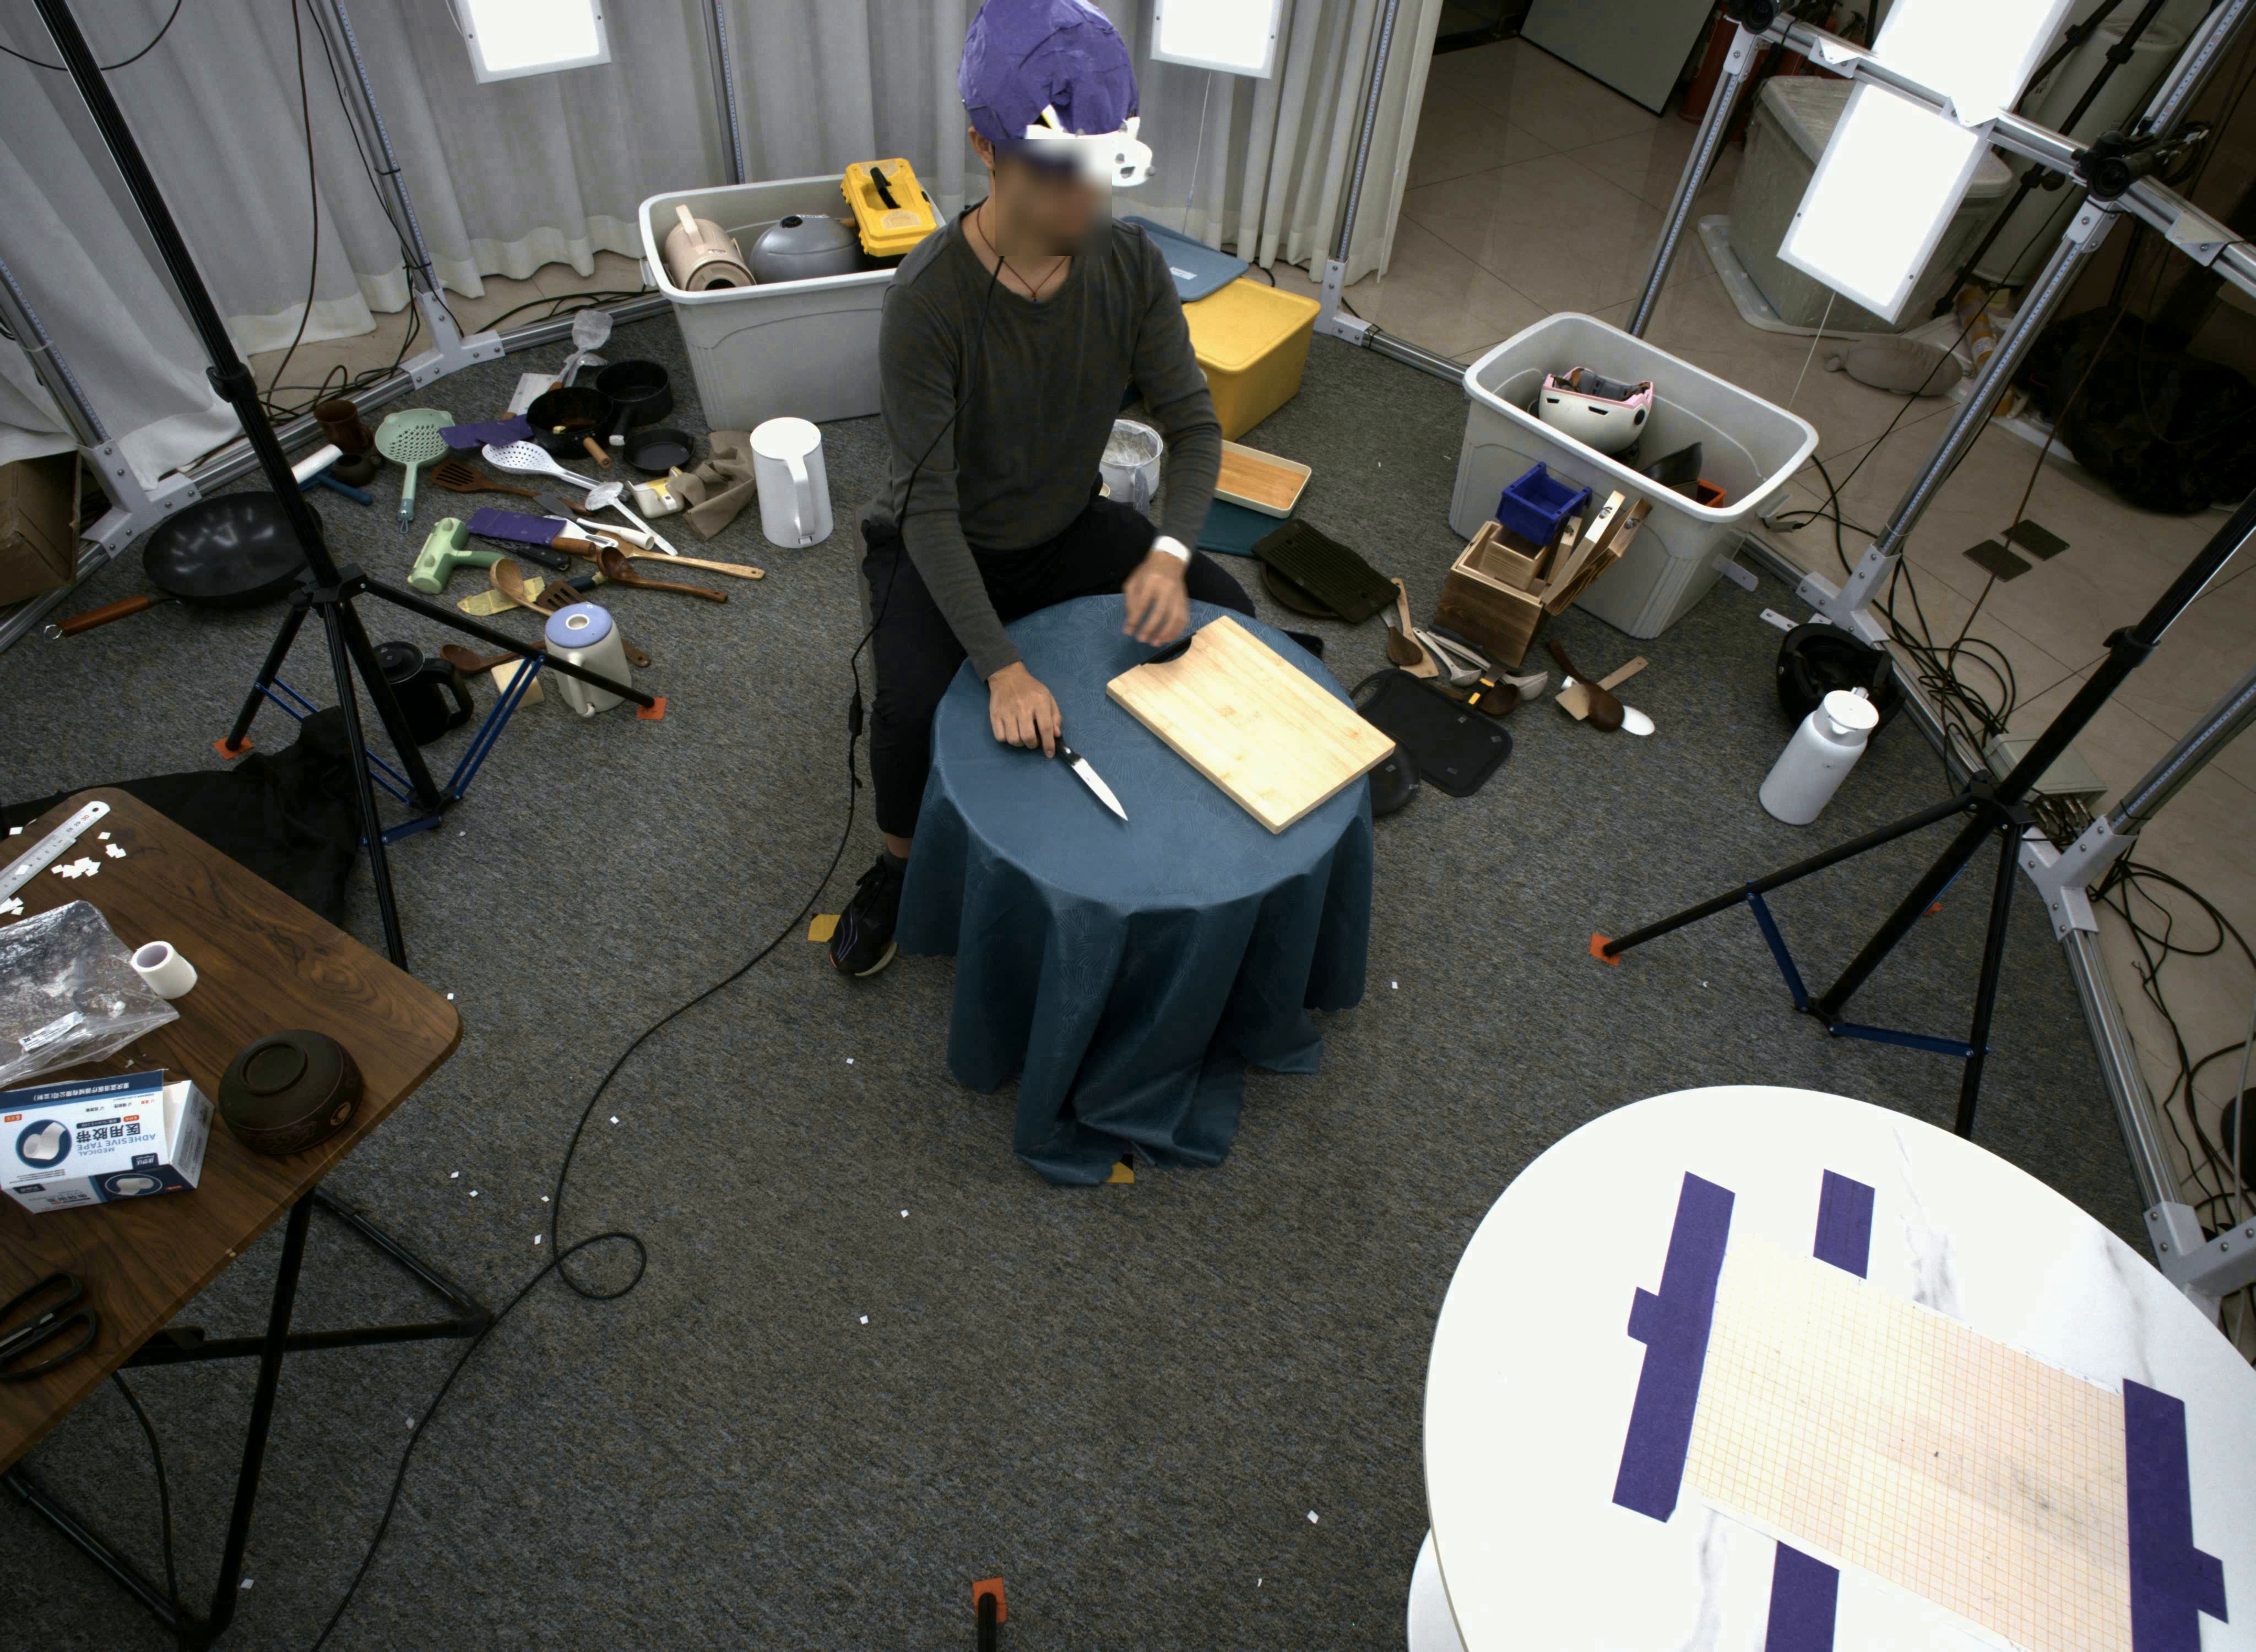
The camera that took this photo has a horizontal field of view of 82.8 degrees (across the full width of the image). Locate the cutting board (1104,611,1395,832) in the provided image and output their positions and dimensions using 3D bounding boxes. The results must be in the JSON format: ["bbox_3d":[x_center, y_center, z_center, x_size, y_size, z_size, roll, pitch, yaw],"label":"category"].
[{"bbox_3d":[0.167,-0.156,1.804,0.252,0.023,0.354,-33,59,-28],"label":"cutting board"}]

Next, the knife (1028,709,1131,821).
[{"bbox_3d":[-0.068,-0.081,1.721,0.024,0.016,0.243,-28,55,-22],"label":"knife"}]
